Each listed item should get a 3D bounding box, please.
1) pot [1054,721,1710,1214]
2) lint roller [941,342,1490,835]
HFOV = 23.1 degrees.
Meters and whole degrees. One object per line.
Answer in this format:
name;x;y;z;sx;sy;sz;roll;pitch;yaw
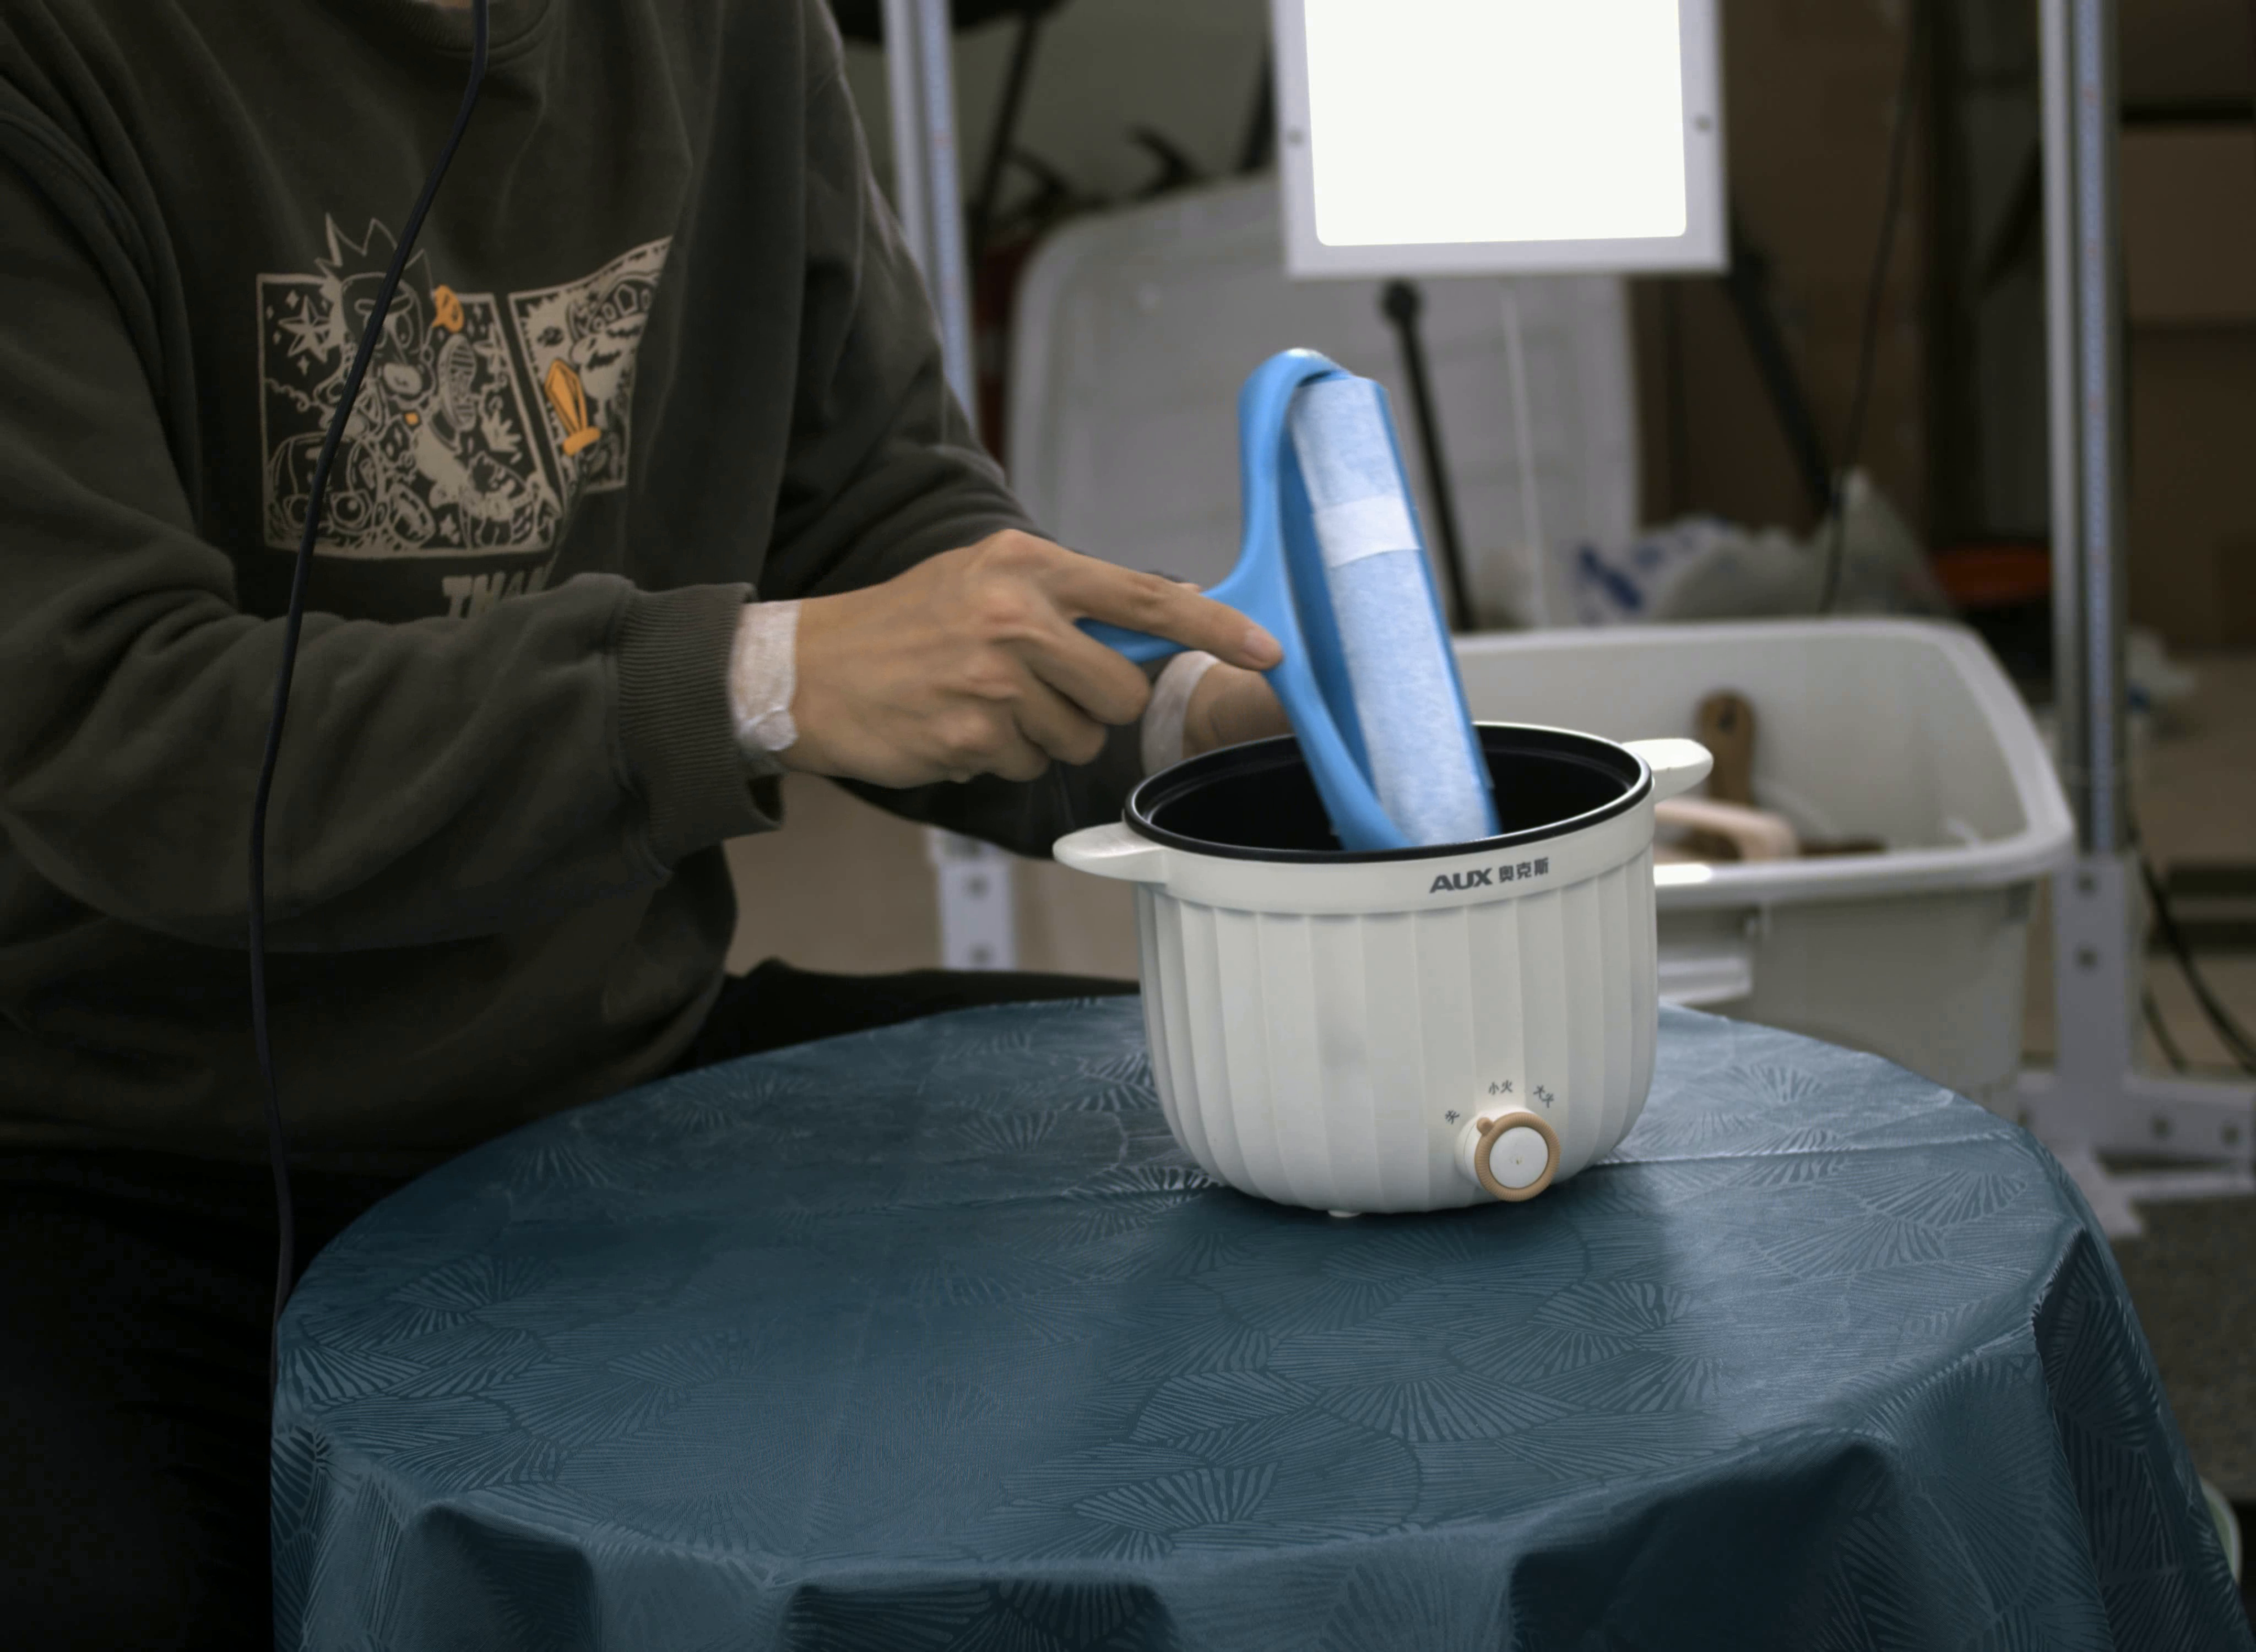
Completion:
pot;0.097;0.050;1.880;0.237;0.143;0.193;-10;12;-16
lint roller;0.030;-0.059;1.872;0.176;0.229;0.069;-4;-22;-26
